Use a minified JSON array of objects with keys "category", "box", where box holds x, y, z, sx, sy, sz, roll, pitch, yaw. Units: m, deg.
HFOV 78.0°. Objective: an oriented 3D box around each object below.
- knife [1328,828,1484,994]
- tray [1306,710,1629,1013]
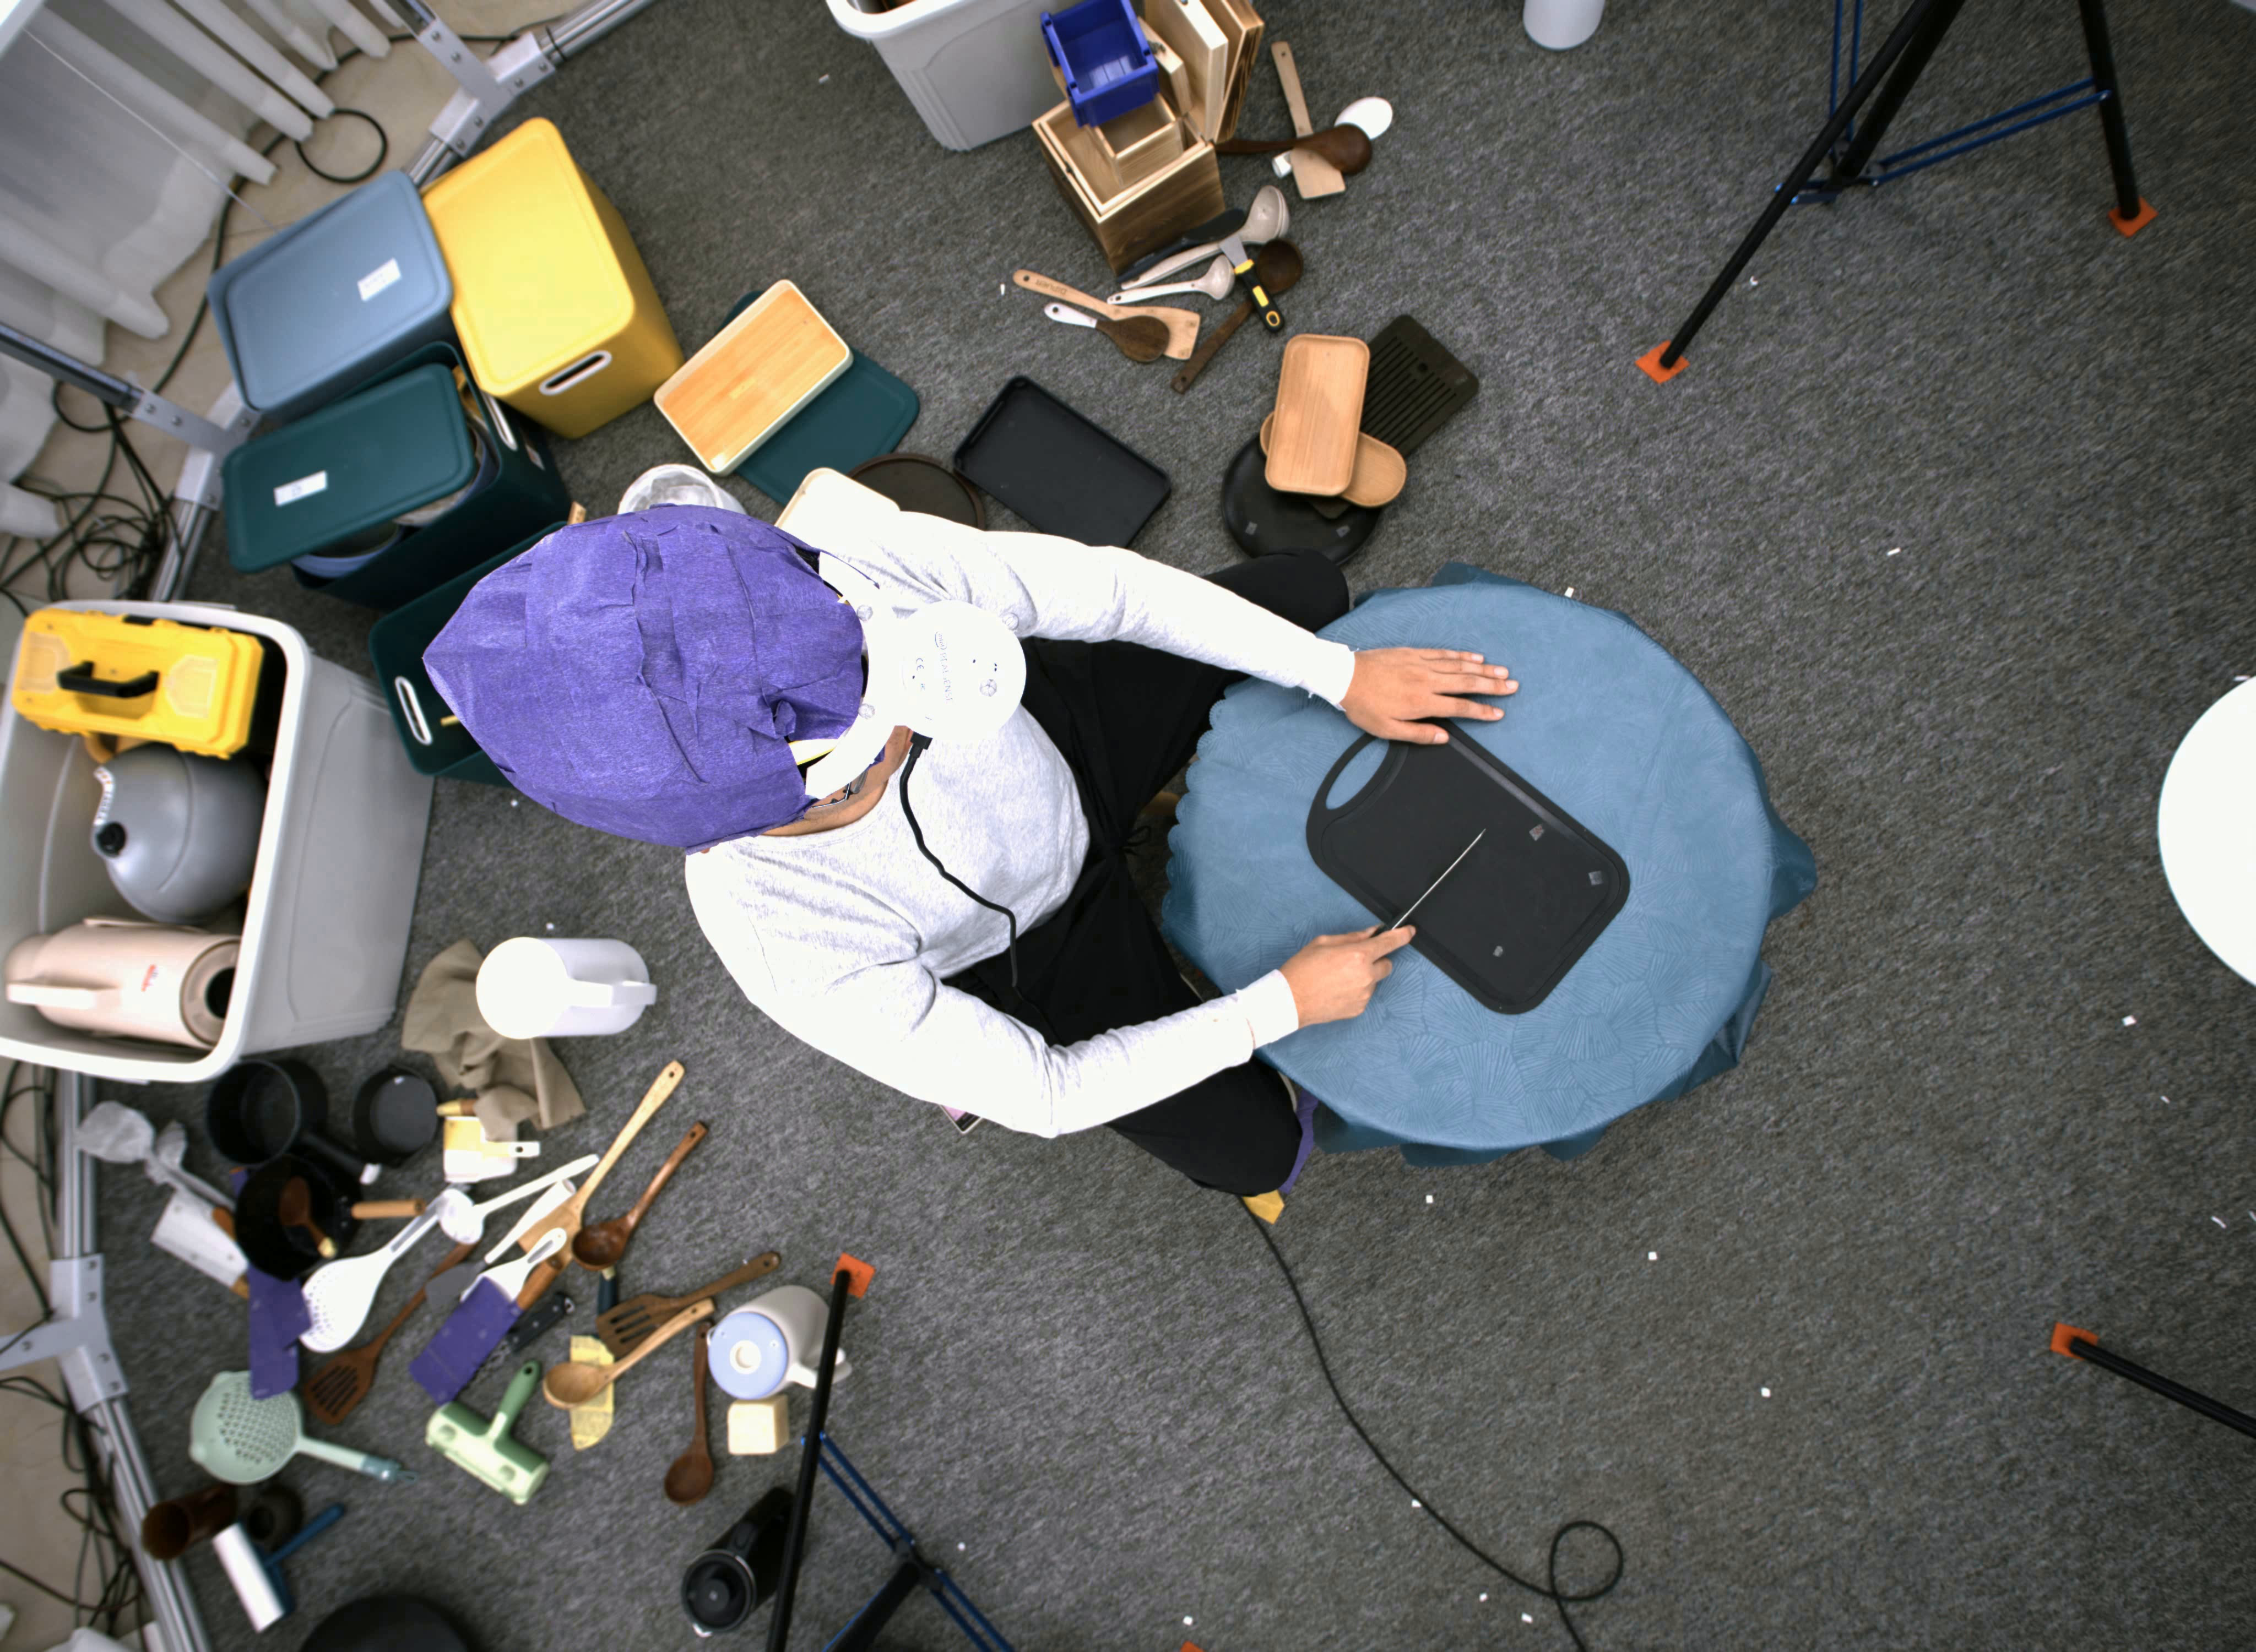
[{"category":"knife","box":[0.292,0.085,1.434,0.016,0.024,0.237,44,87,-5]},{"category":"tray","box":[0.346,0.028,1.445,0.324,0.010,0.212,41,94,10]}]
